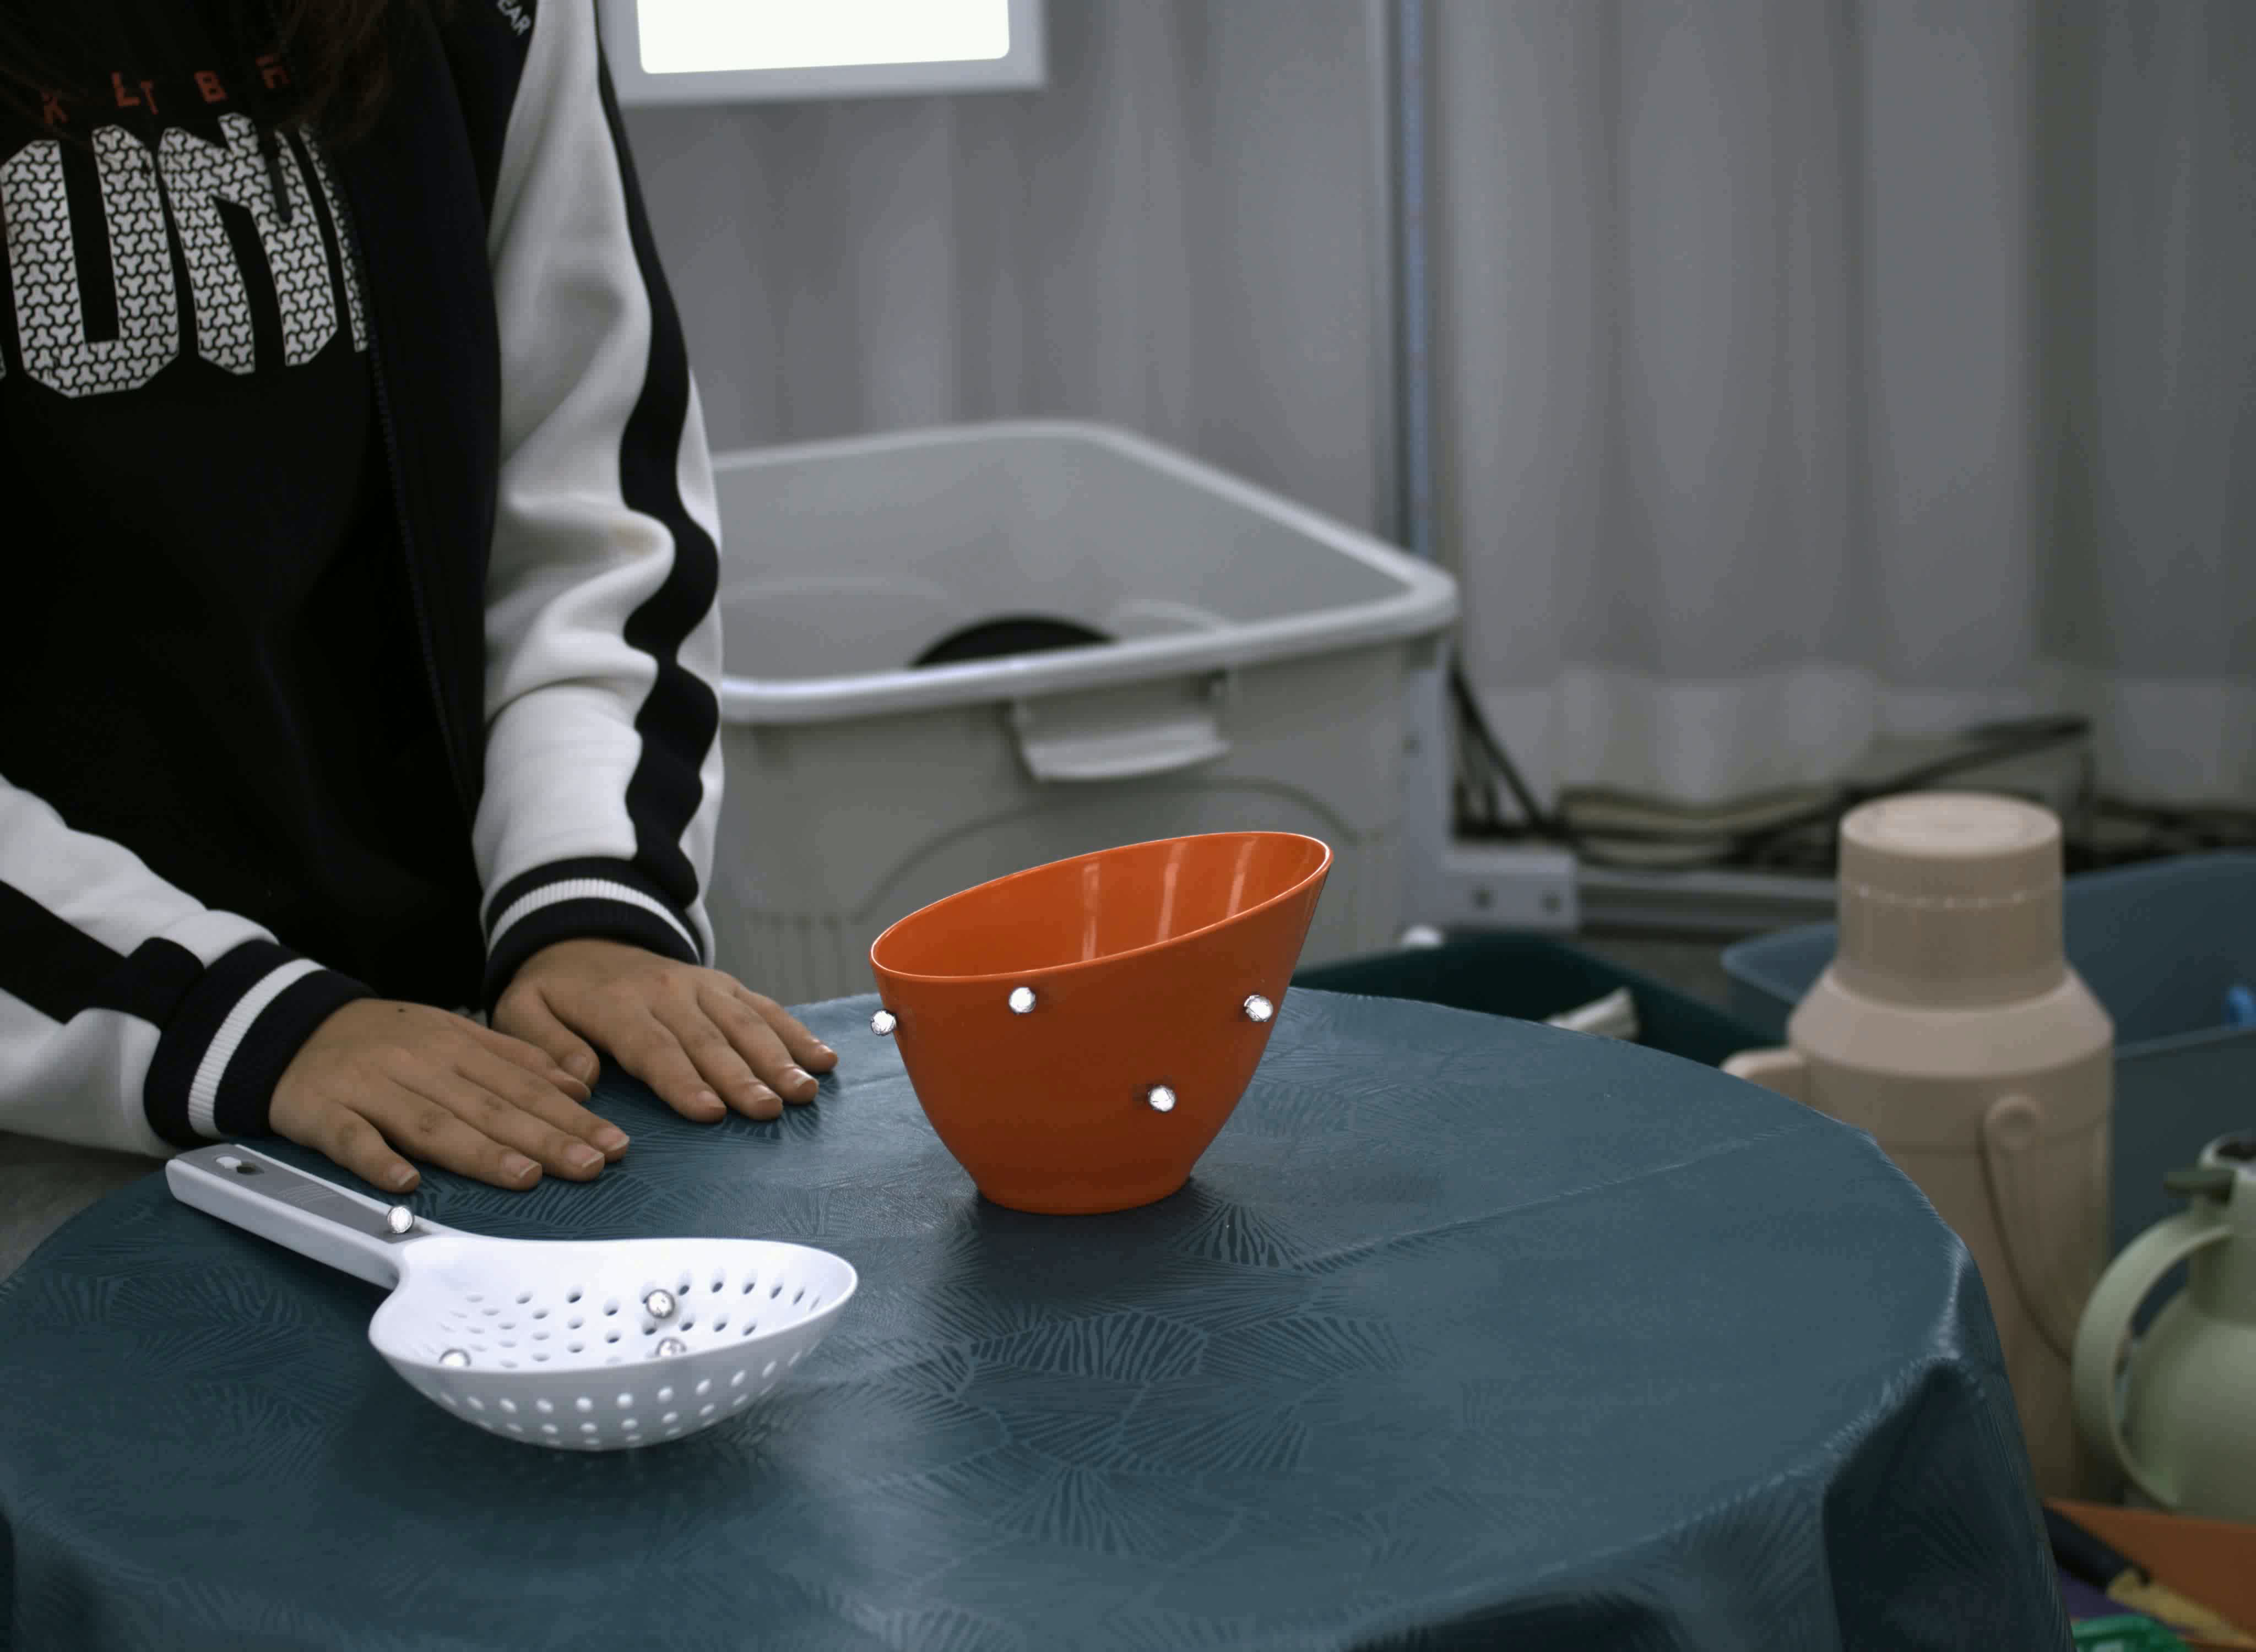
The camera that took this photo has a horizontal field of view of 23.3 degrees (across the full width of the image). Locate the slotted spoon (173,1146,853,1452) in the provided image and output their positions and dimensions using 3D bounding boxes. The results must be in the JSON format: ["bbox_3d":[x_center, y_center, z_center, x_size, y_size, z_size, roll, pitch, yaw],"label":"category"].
[{"bbox_3d":[-0.202,0.129,1.612,0.135,0.045,0.352,-11,16,-32],"label":"slotted spoon"}]

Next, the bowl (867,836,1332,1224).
[{"bbox_3d":[-0.007,0.065,1.710,0.147,0.104,0.149,-4,15,1],"label":"bowl"}]
